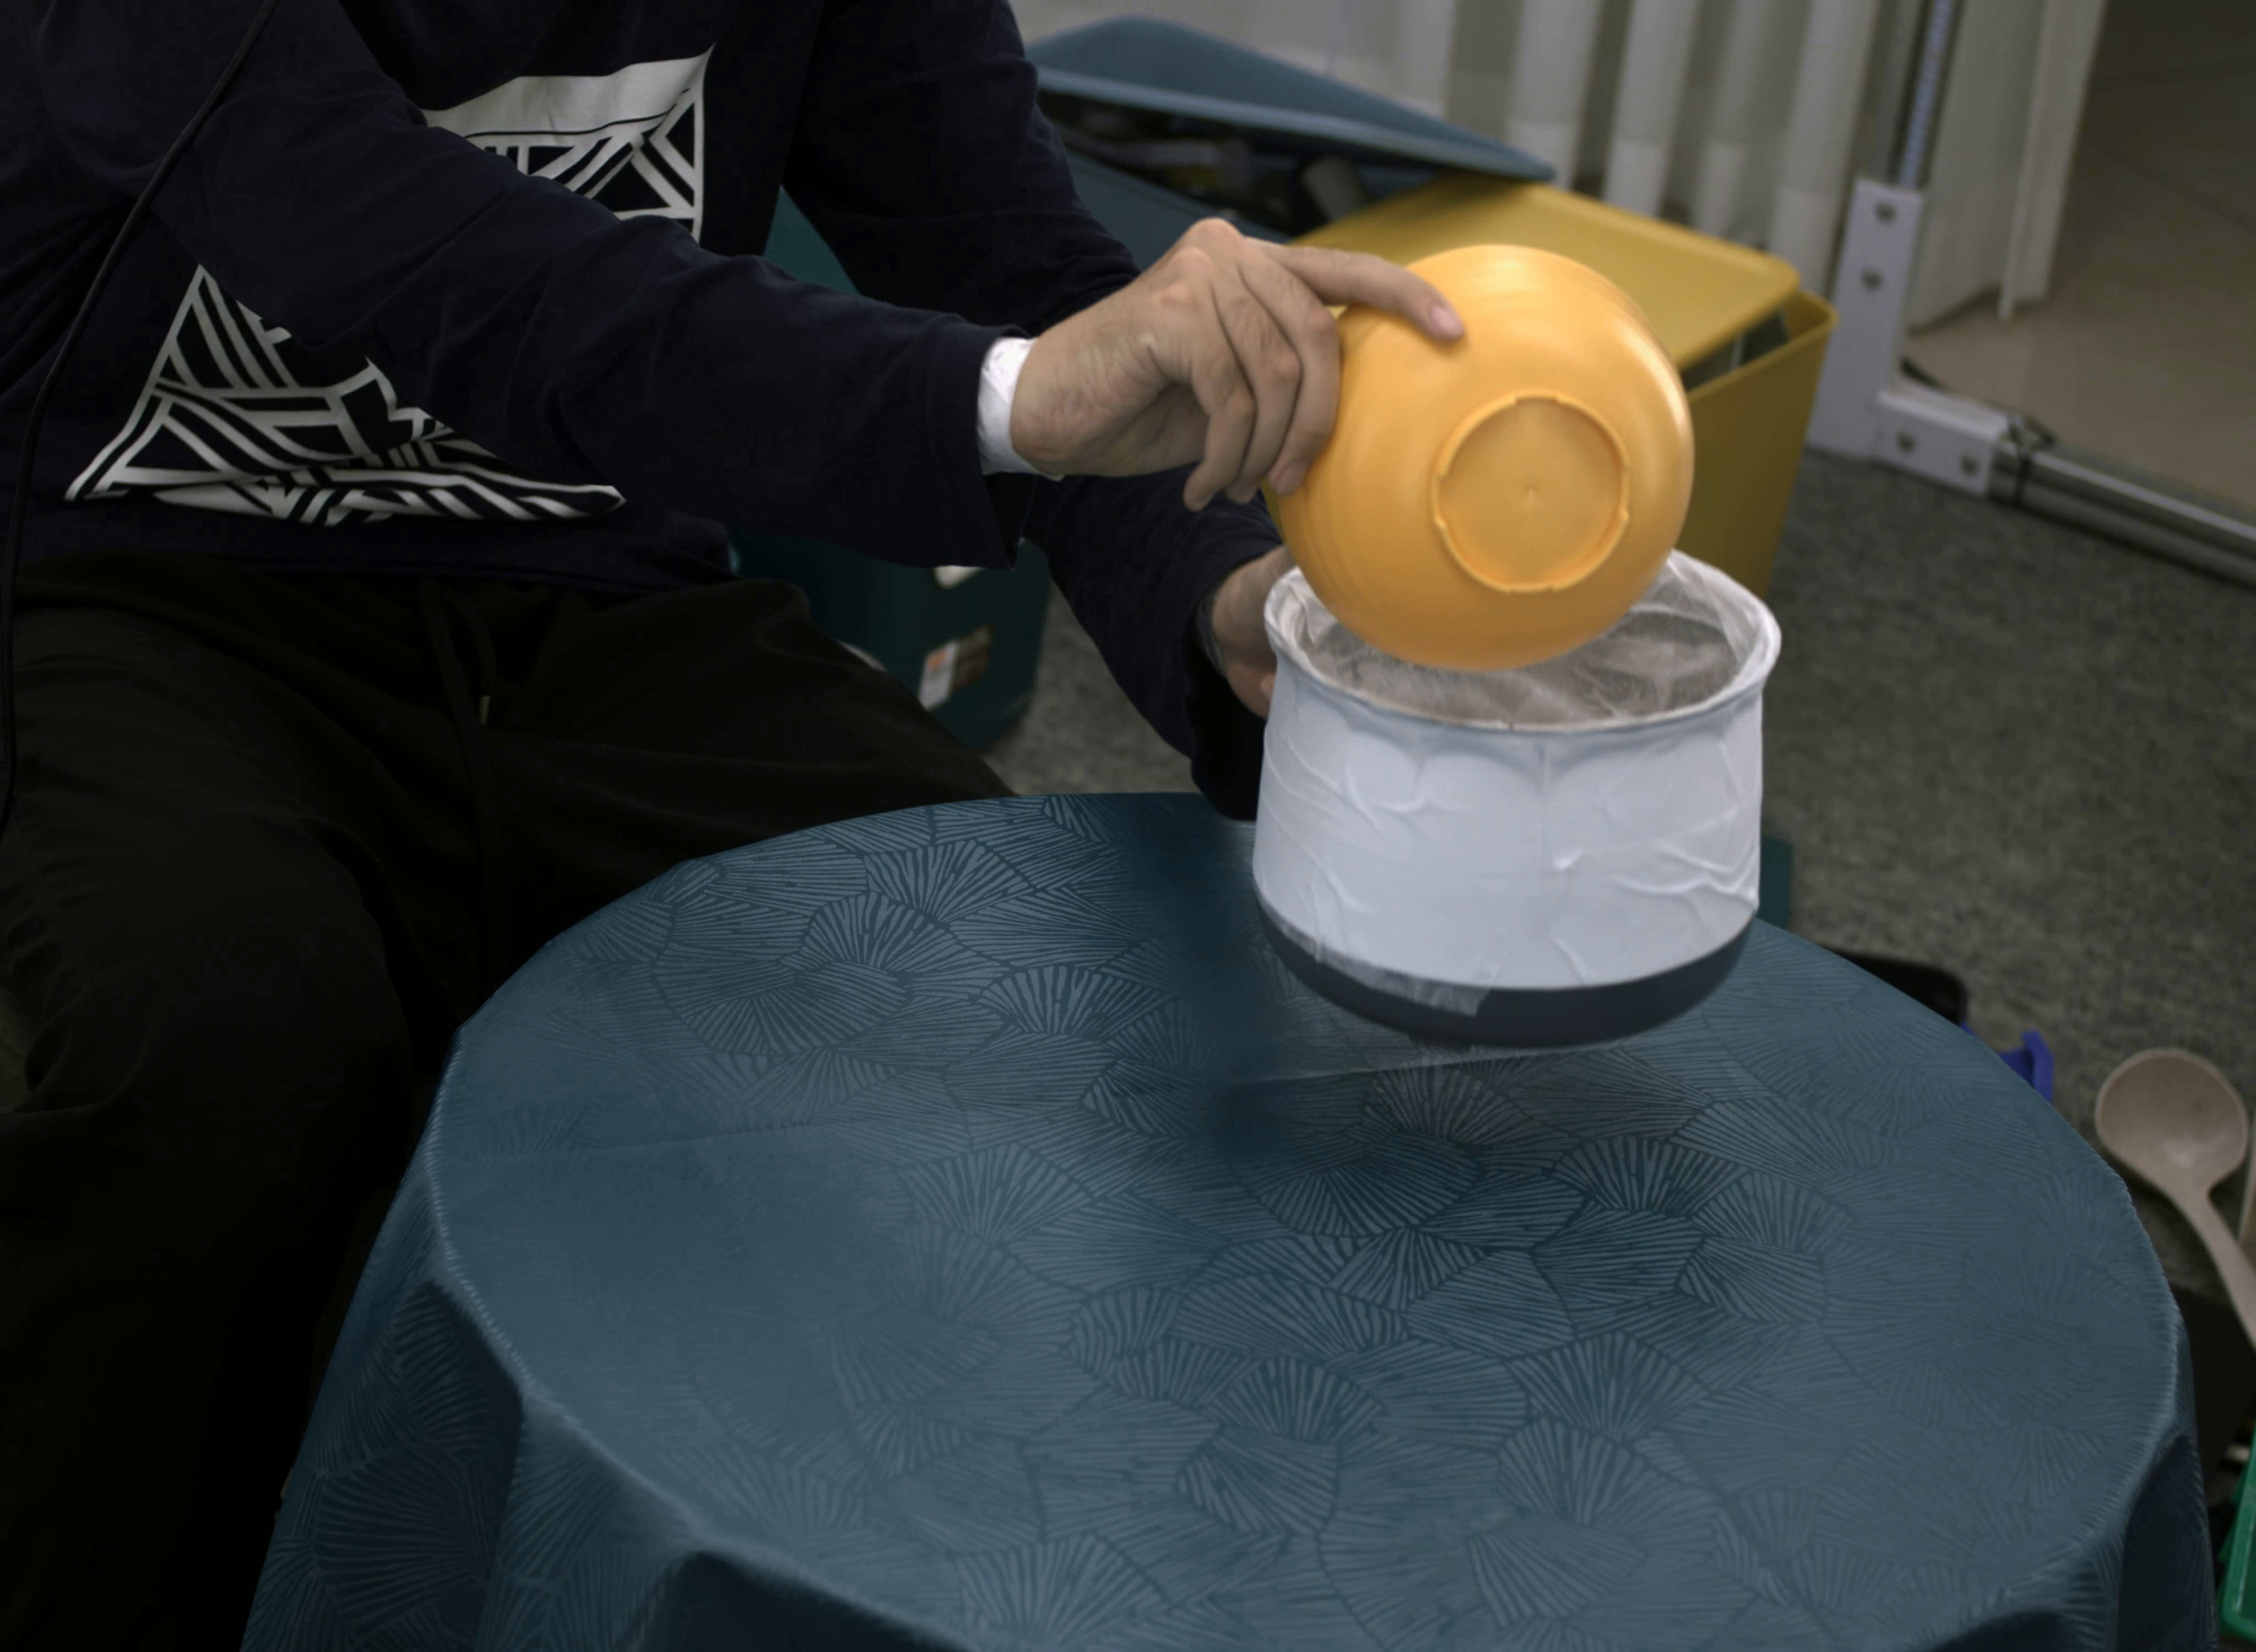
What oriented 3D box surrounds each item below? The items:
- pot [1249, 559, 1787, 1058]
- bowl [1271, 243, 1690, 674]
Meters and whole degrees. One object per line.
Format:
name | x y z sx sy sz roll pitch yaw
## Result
pot | 0.120 -0.021 1.868 0.177 0.136 0.236 -8 27 -25
bowl | 0.123 -0.114 1.739 0.144 0.145 0.060 1 14 -11
